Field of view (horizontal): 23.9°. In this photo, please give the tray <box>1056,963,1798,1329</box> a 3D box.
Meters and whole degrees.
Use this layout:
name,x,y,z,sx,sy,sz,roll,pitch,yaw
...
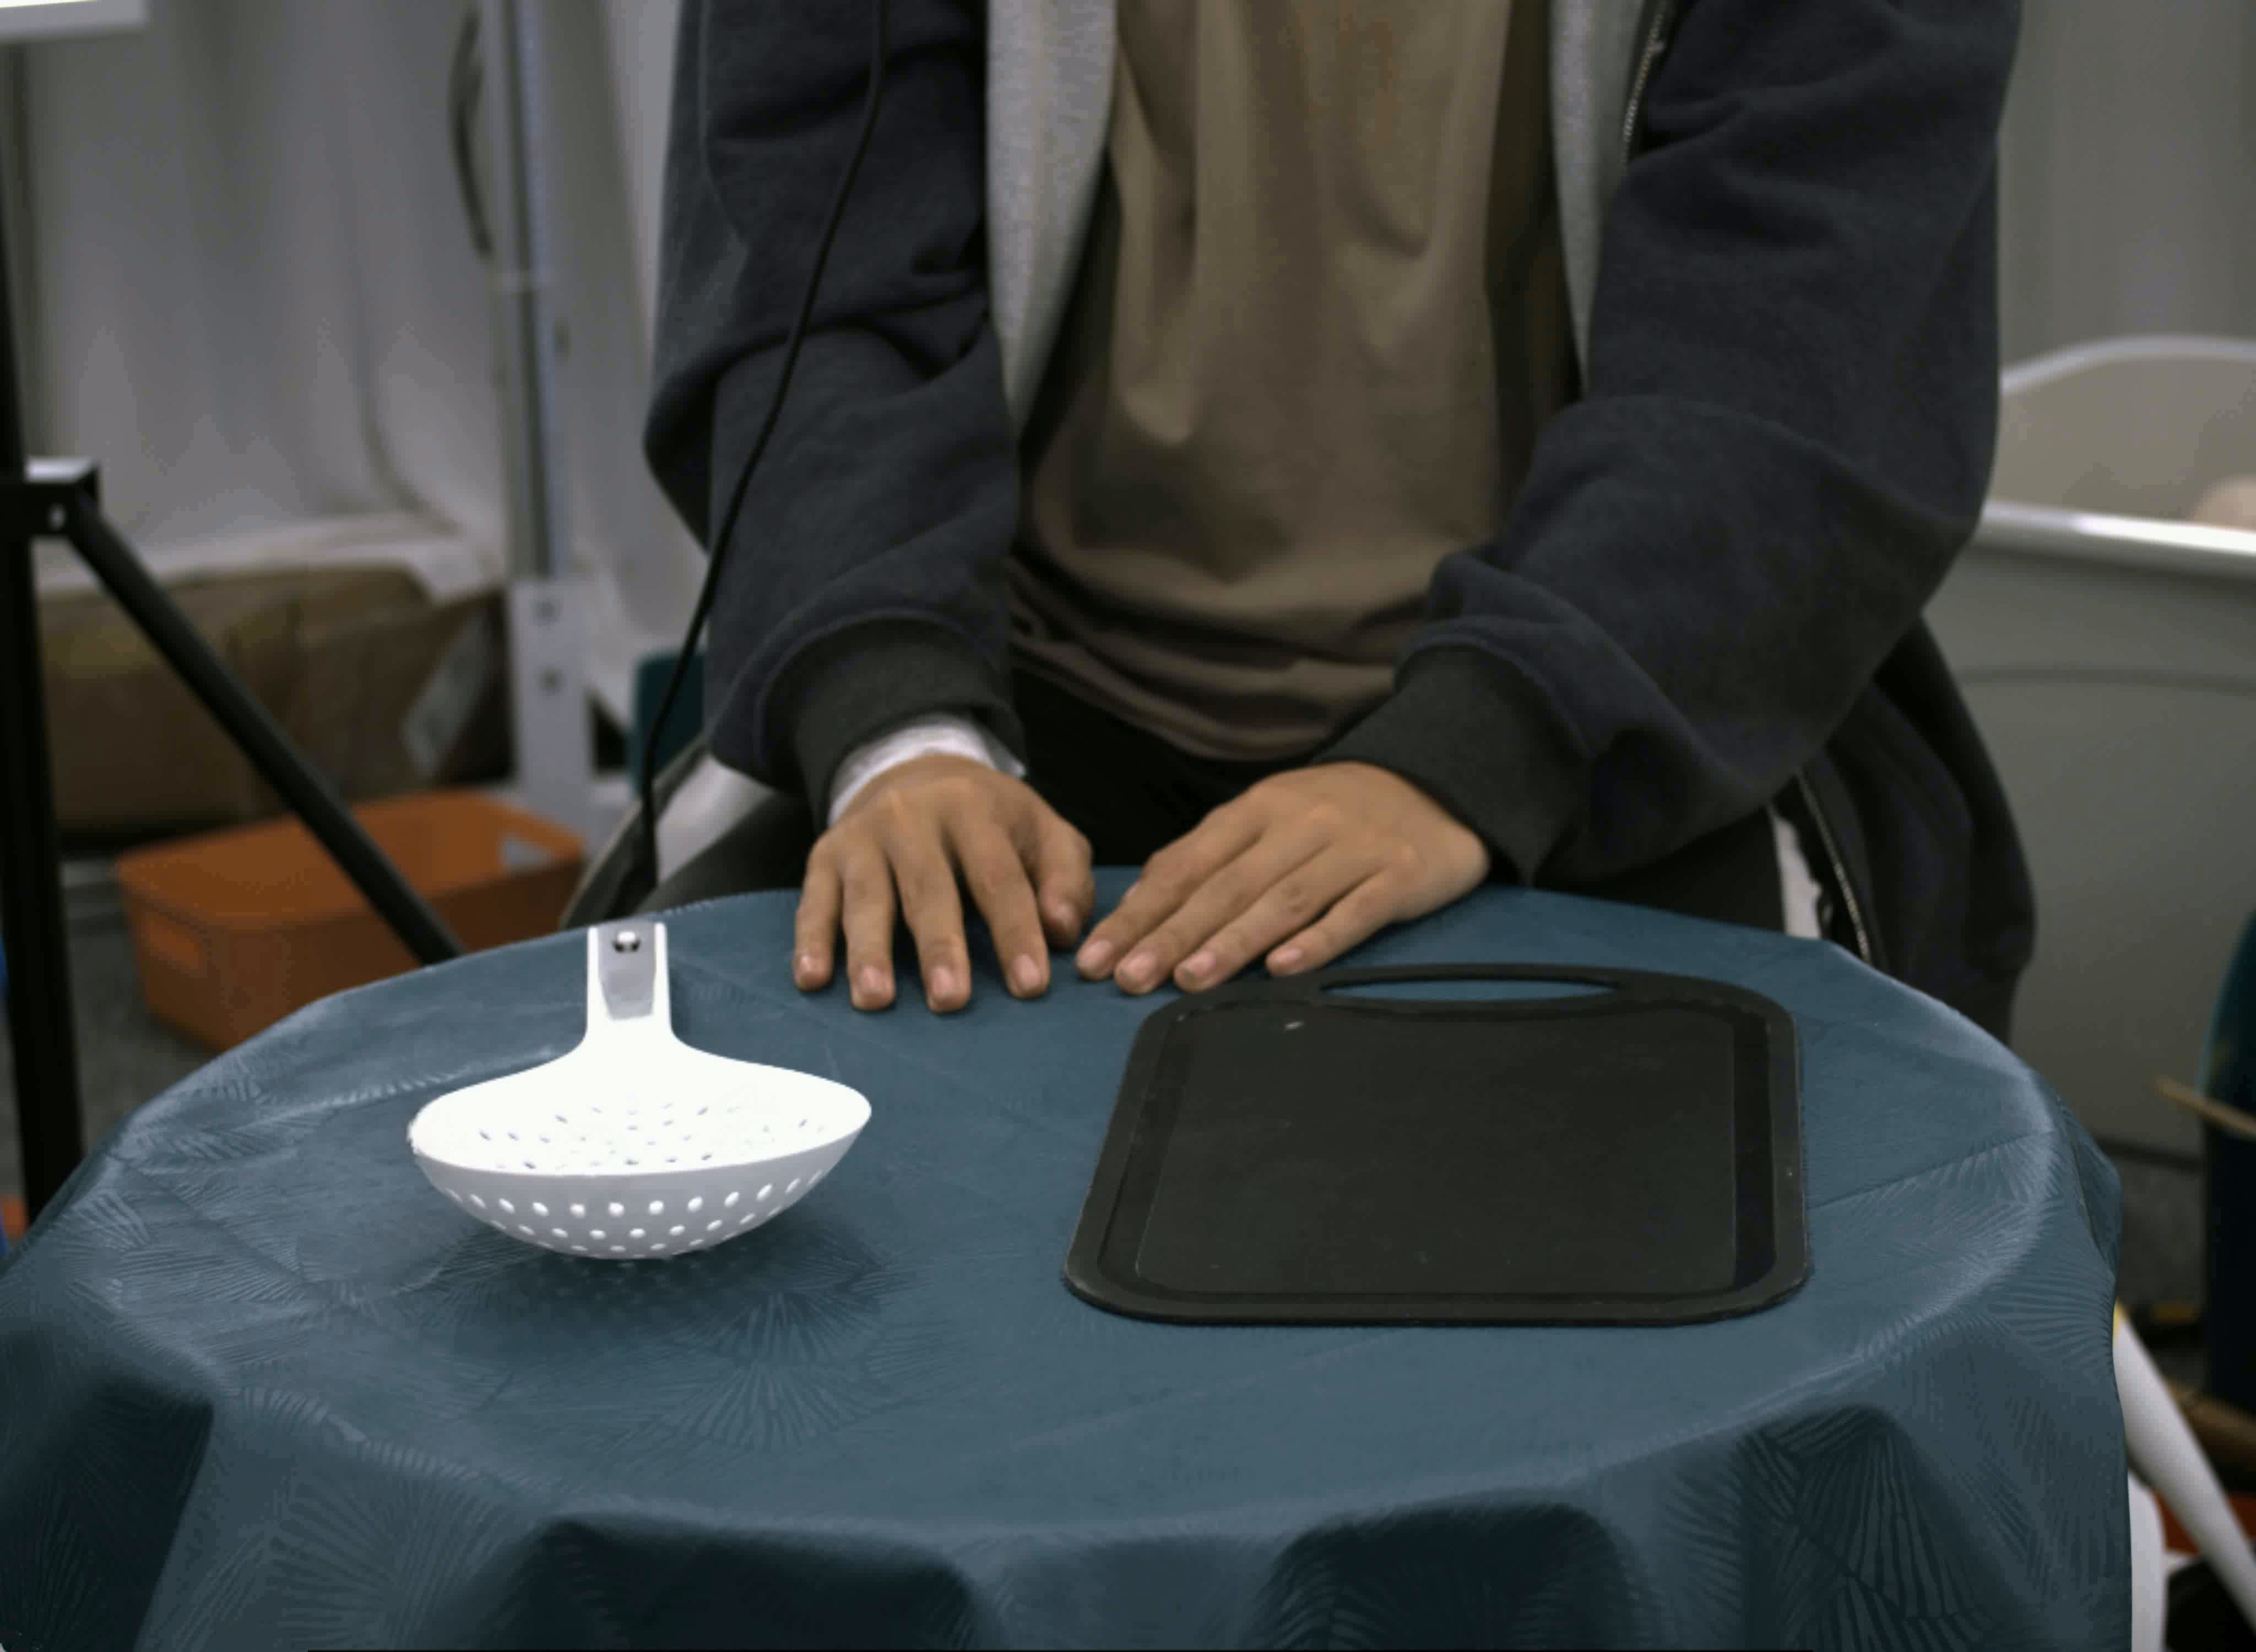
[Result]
name,x,y,z,sx,sy,sz,roll,pitch,yaw
tray,0.095,0.090,1.596,0.211,0.010,0.325,0,16,7

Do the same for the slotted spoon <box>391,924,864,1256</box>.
name,x,y,z,sx,sy,sz,roll,pitch,yaw
slotted spoon,-0.154,0.071,1.633,0.135,0.046,0.352,-2,15,-5
